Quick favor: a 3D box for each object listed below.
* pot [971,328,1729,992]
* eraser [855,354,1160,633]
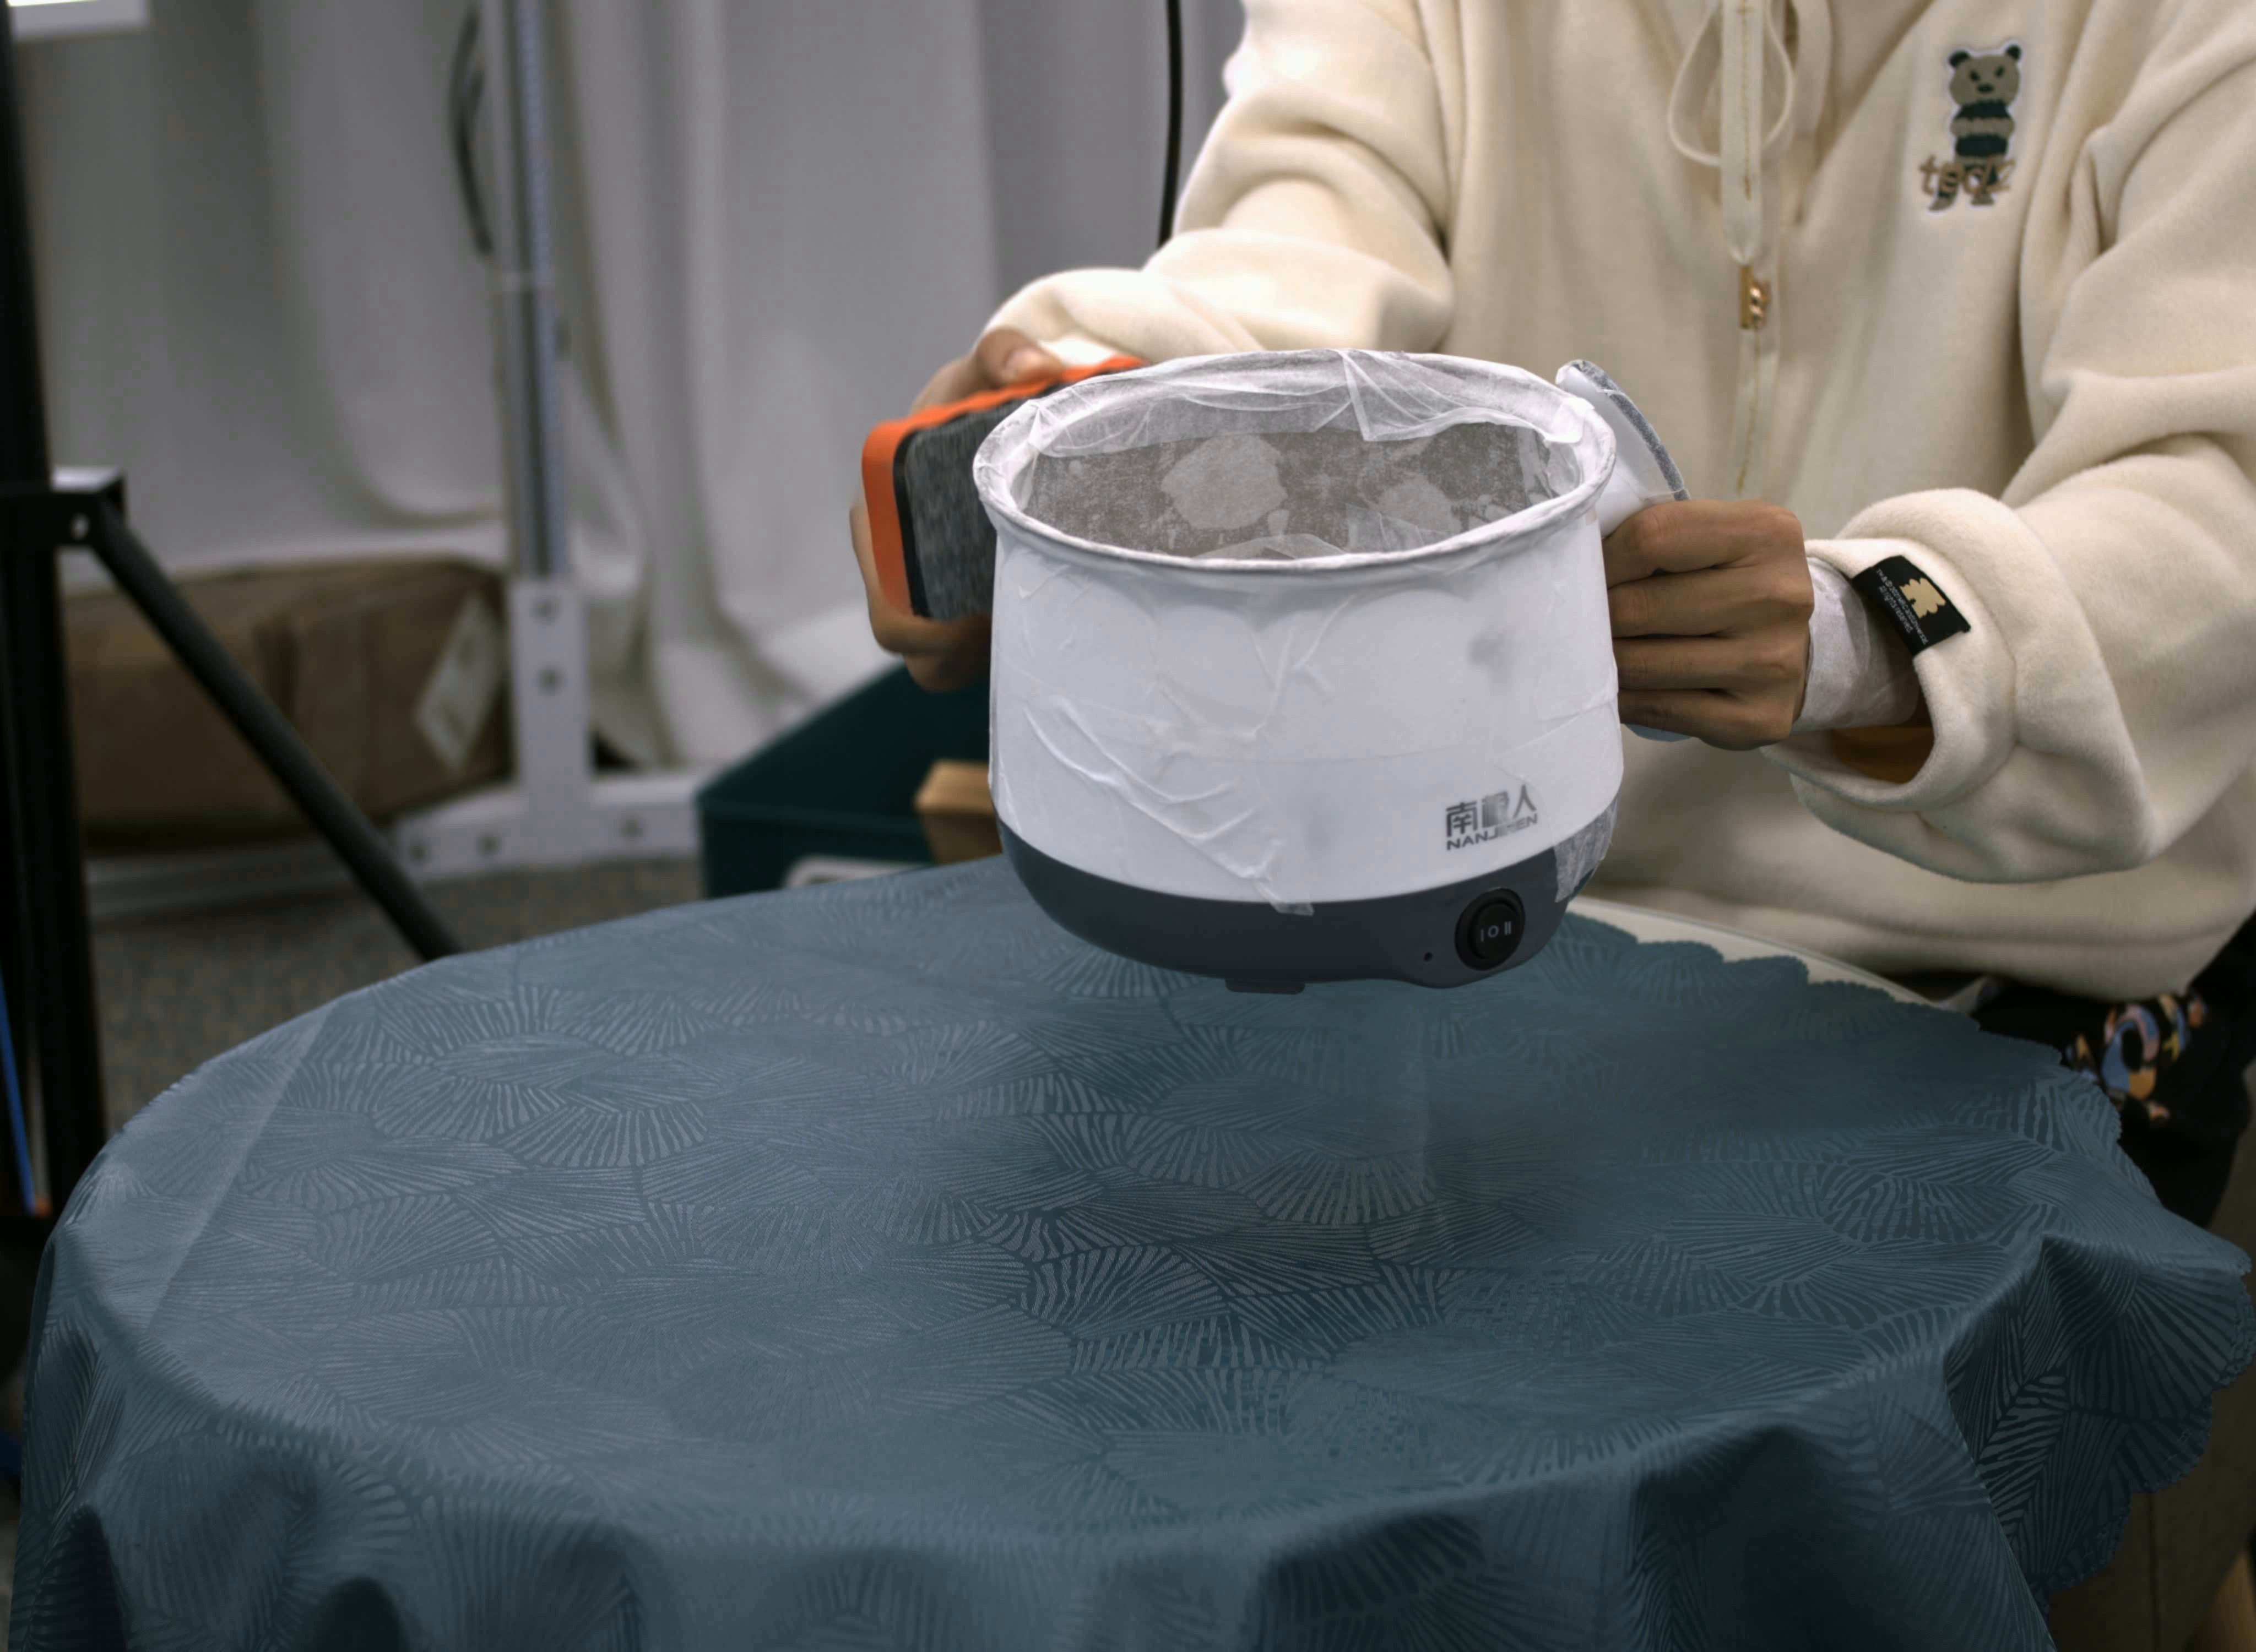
[{"bbox_3d":[0.070,-0.054,1.485,0.229,0.136,0.183,-18,29,-29],"label":"pot"},{"bbox_3d":[-0.029,-0.097,1.541,0.106,0.059,0.023,-23,19,-38],"label":"eraser"}]
